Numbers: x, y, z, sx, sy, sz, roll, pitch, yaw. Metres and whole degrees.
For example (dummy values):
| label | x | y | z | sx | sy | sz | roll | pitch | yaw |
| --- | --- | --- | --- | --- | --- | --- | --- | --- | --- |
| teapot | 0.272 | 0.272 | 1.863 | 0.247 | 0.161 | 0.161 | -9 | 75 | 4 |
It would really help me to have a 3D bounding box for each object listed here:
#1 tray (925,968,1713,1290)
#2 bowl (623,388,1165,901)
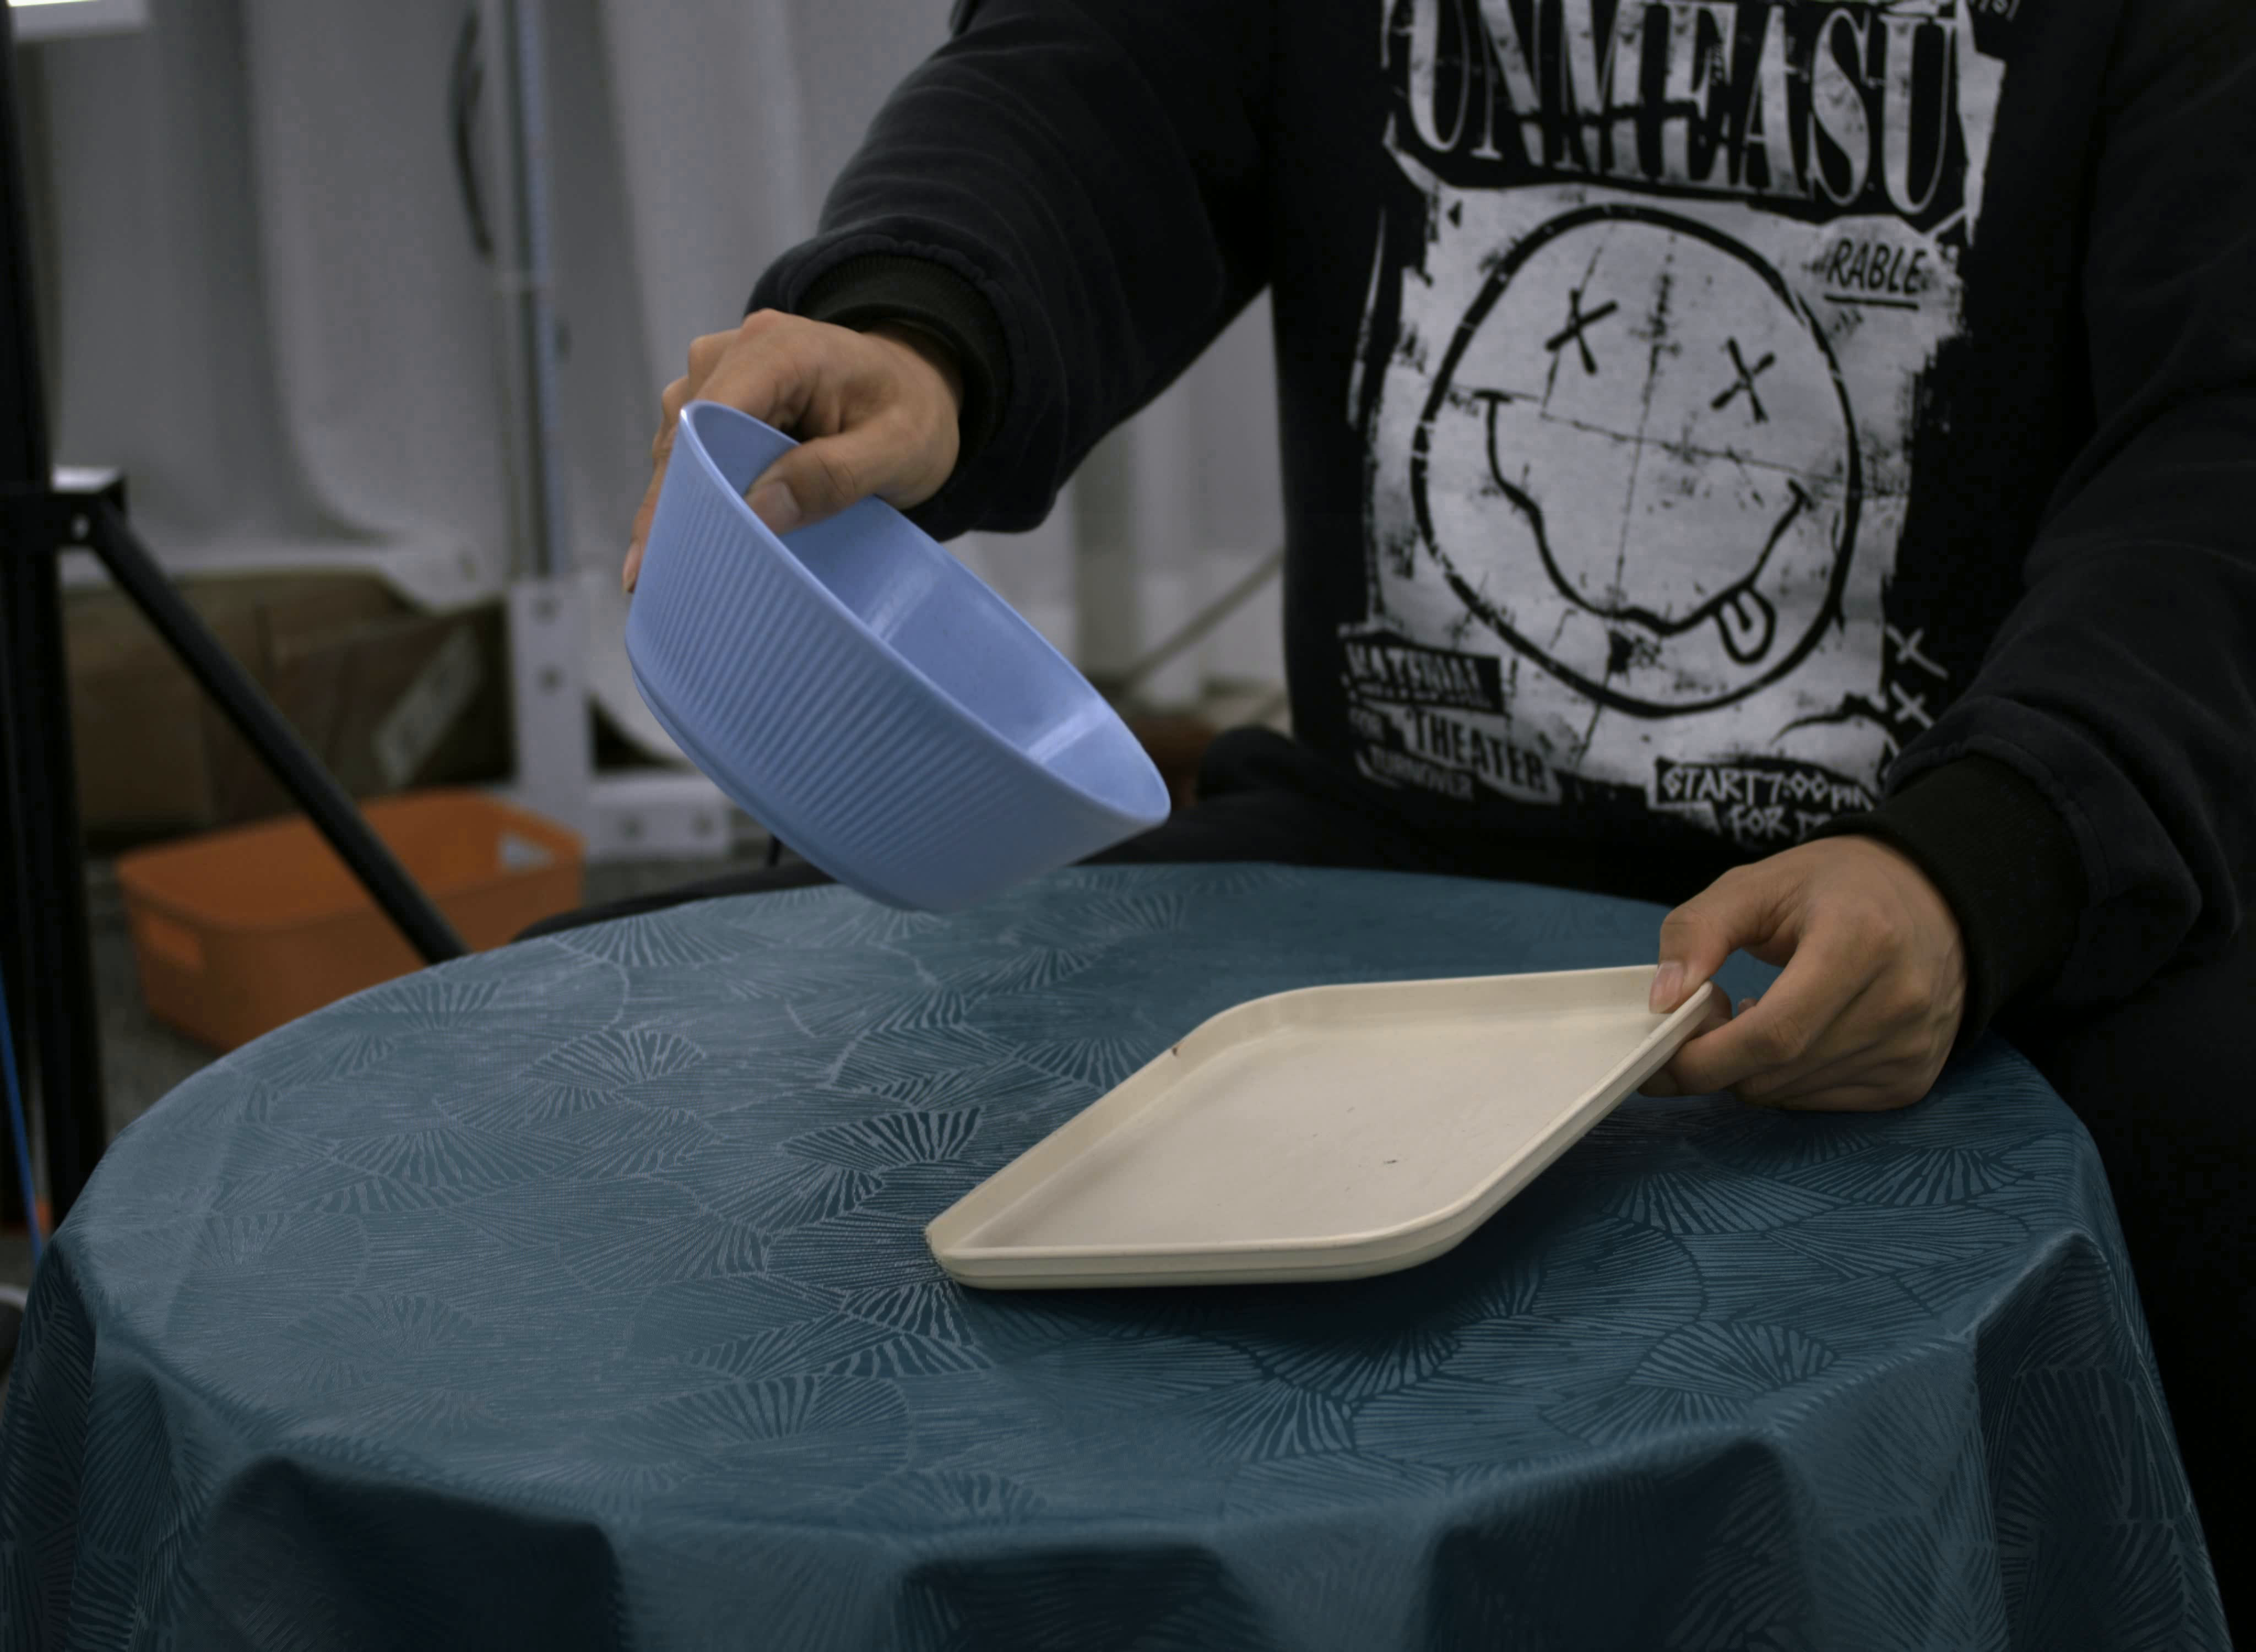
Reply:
| label | x | y | z | sx | sy | sz | roll | pitch | yaw |
| --- | --- | --- | --- | --- | --- | --- | --- | --- | --- |
| tray | 0.060 | 0.088 | 1.537 | 0.174 | 0.017 | 0.236 | -4 | 15 | 30 |
| bowl | -0.076 | -0.041 | 1.488 | 0.174 | 0.070 | 0.177 | 39 | 10 | -11 |
